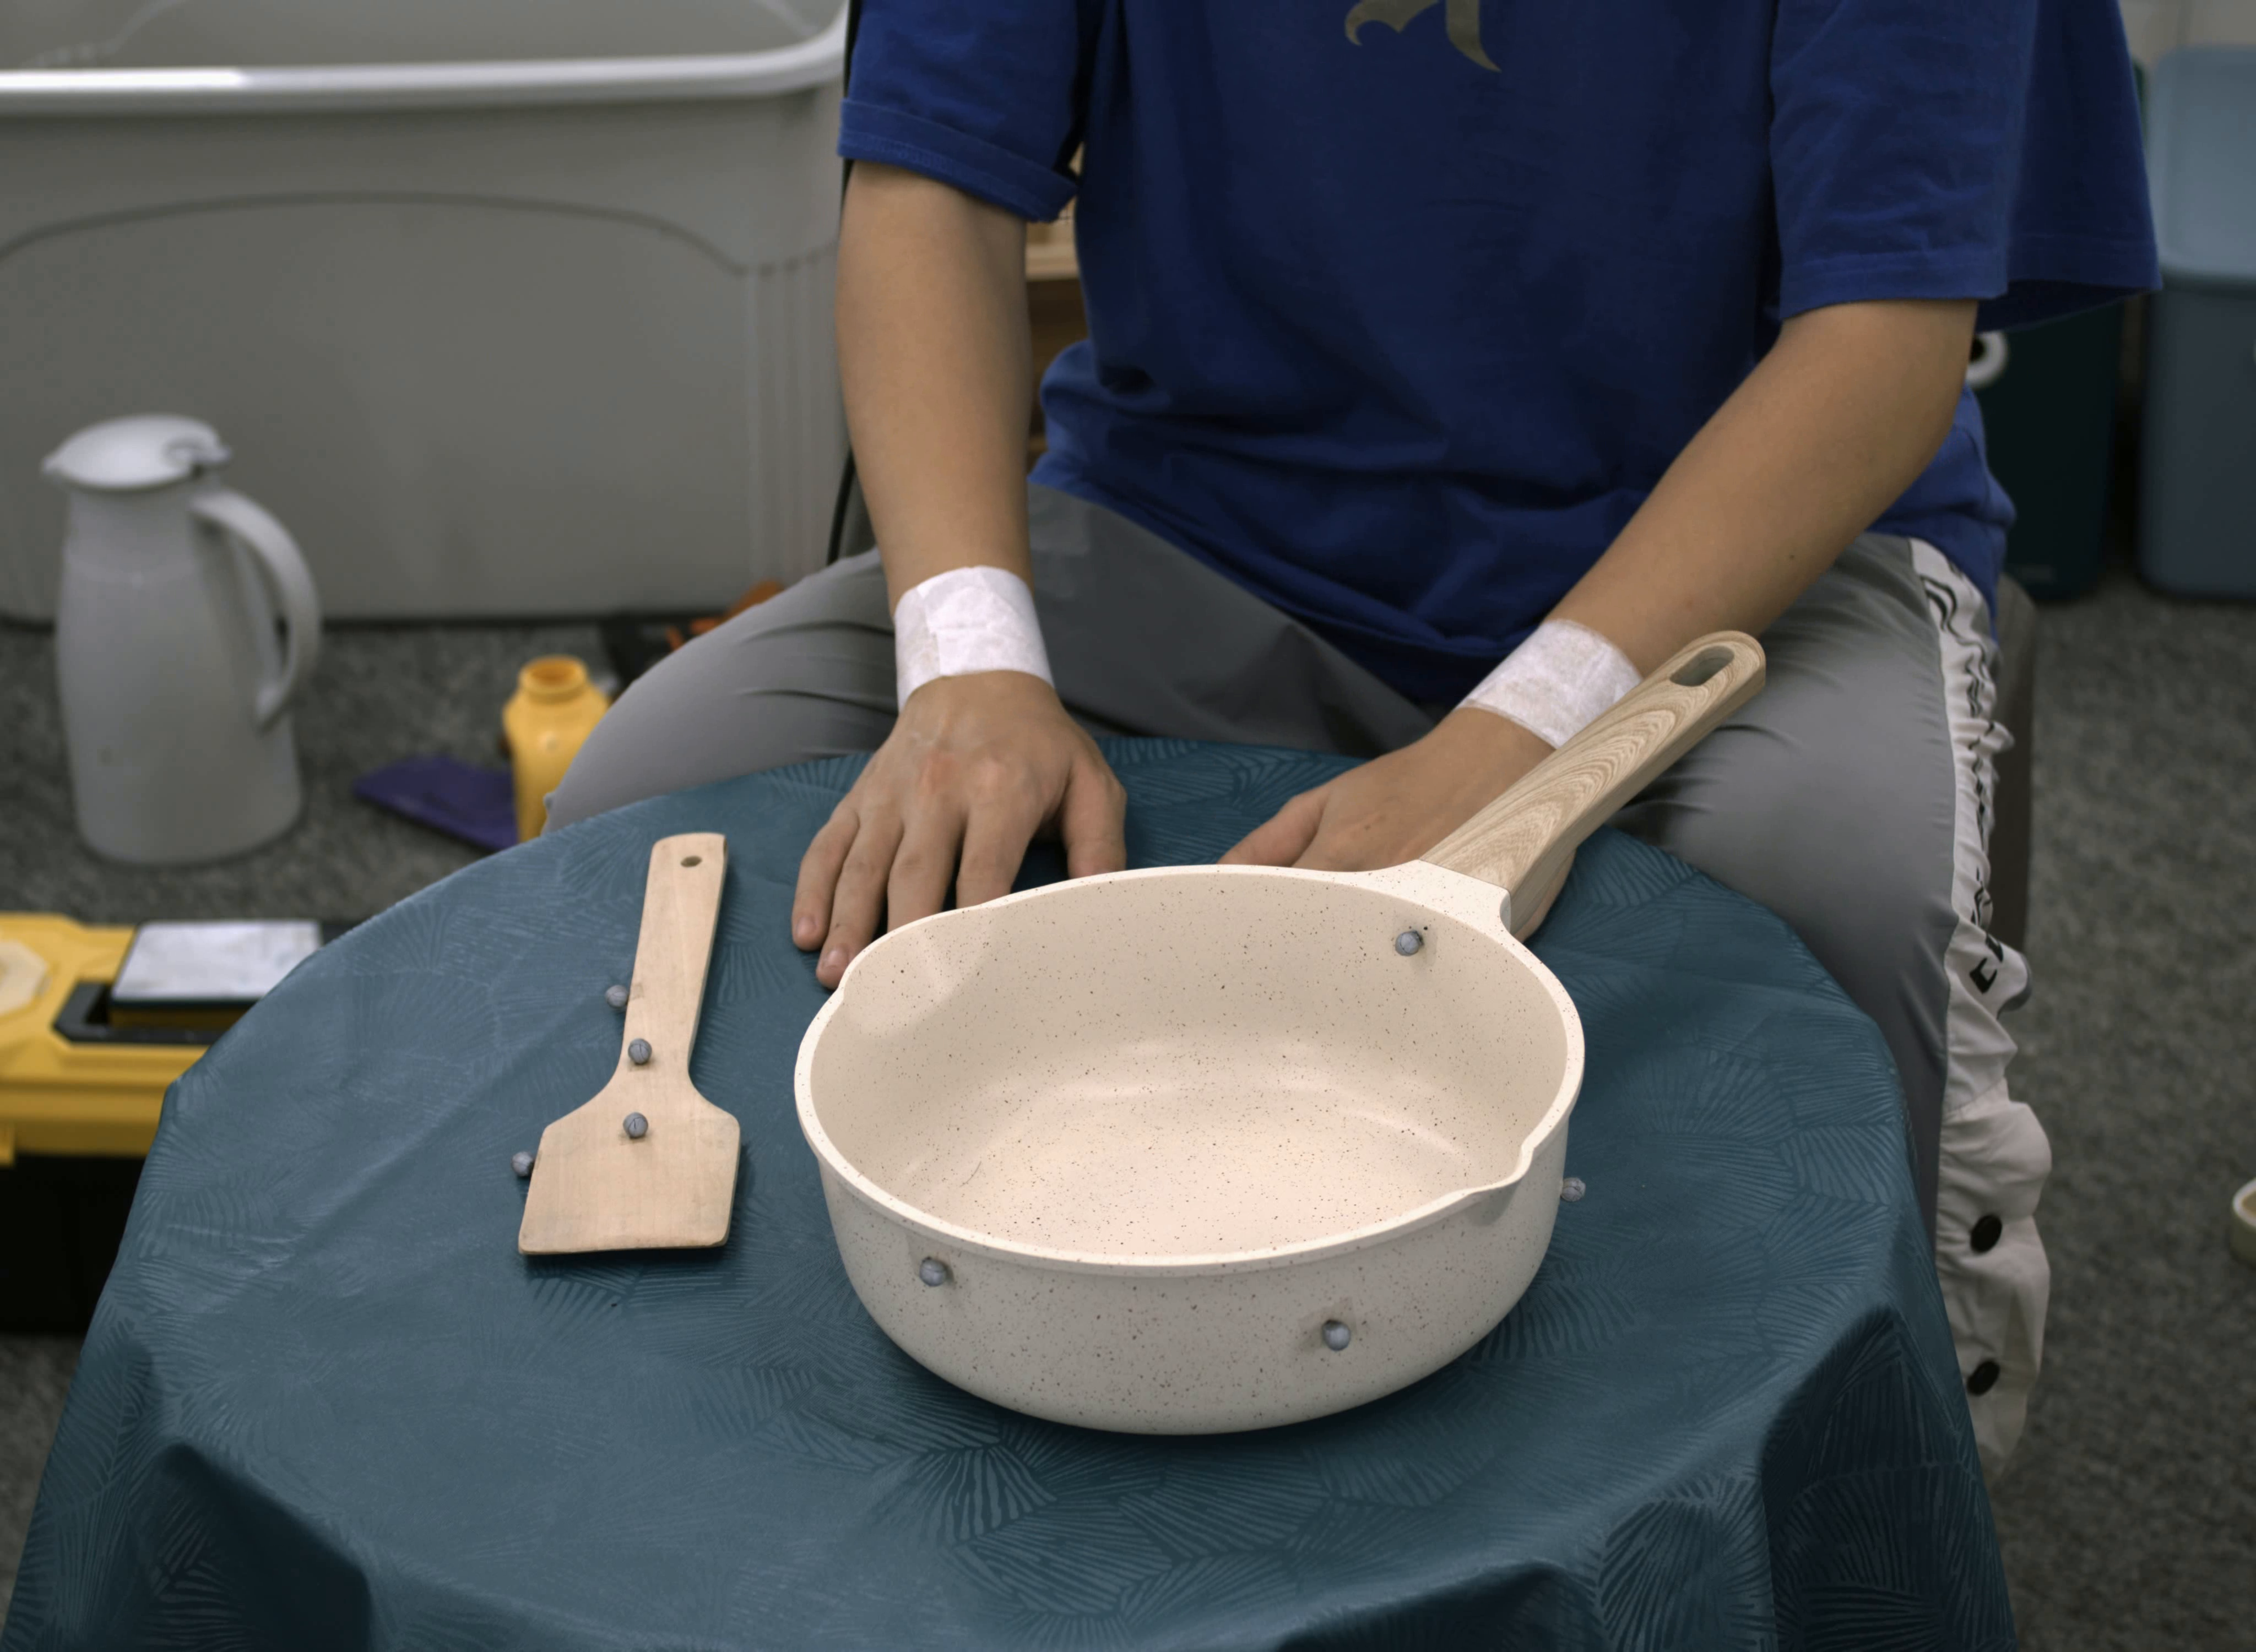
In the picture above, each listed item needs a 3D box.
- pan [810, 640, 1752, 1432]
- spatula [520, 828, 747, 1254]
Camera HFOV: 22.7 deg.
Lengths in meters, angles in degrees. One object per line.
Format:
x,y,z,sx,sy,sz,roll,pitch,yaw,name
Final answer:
0.083,0.065,1.855,0.262,0.101,0.441,16,32,36,pan
-0.163,0.072,1.963,0.072,0.010,0.297,-3,28,2,spatula
